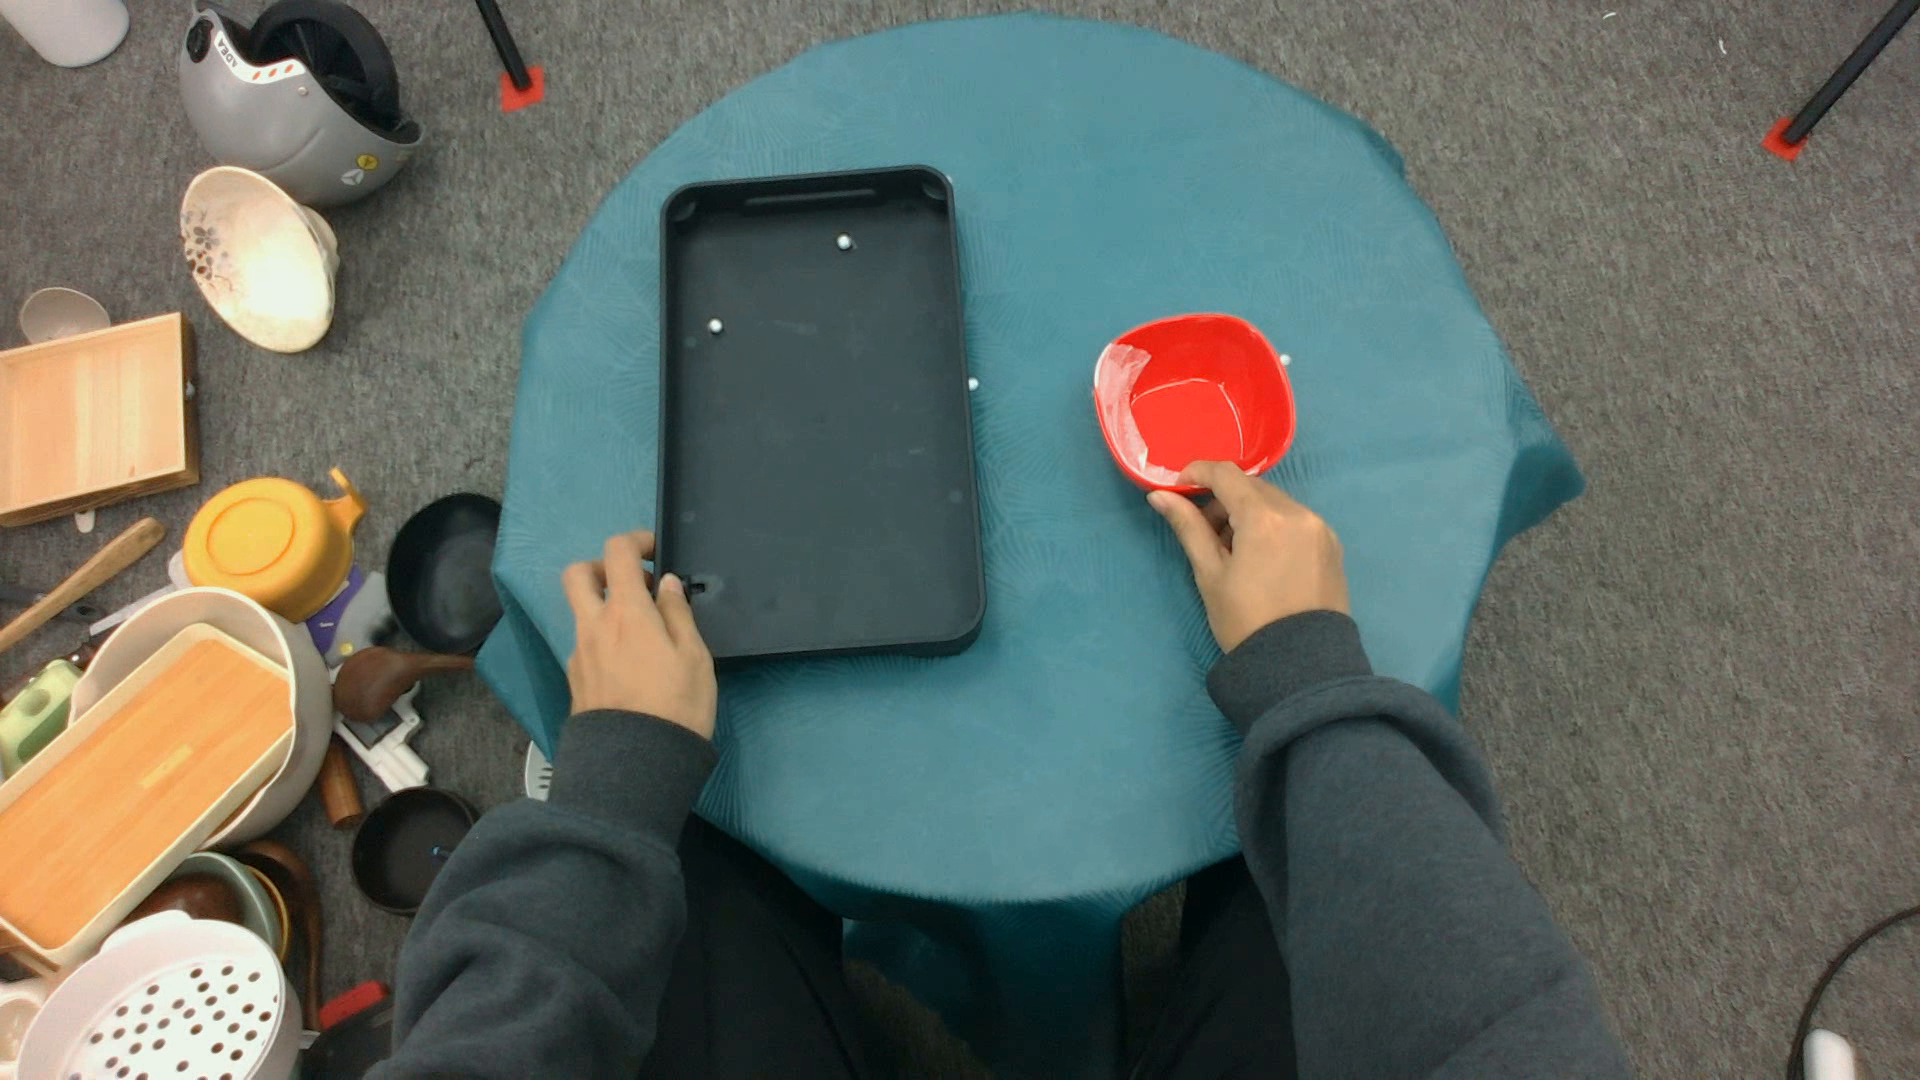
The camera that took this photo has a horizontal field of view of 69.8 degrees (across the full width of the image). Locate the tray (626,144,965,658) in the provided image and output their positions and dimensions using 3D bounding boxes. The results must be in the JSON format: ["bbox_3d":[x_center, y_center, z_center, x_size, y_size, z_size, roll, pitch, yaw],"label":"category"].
[{"bbox_3d":[-0.100,-0.089,0.811,0.184,0.037,0.319,-5,67,-1],"label":"tray"}]

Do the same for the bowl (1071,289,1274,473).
[{"bbox_3d":[0.120,-0.084,0.796,0.119,0.051,0.119,-1,67,2],"label":"bowl"}]
